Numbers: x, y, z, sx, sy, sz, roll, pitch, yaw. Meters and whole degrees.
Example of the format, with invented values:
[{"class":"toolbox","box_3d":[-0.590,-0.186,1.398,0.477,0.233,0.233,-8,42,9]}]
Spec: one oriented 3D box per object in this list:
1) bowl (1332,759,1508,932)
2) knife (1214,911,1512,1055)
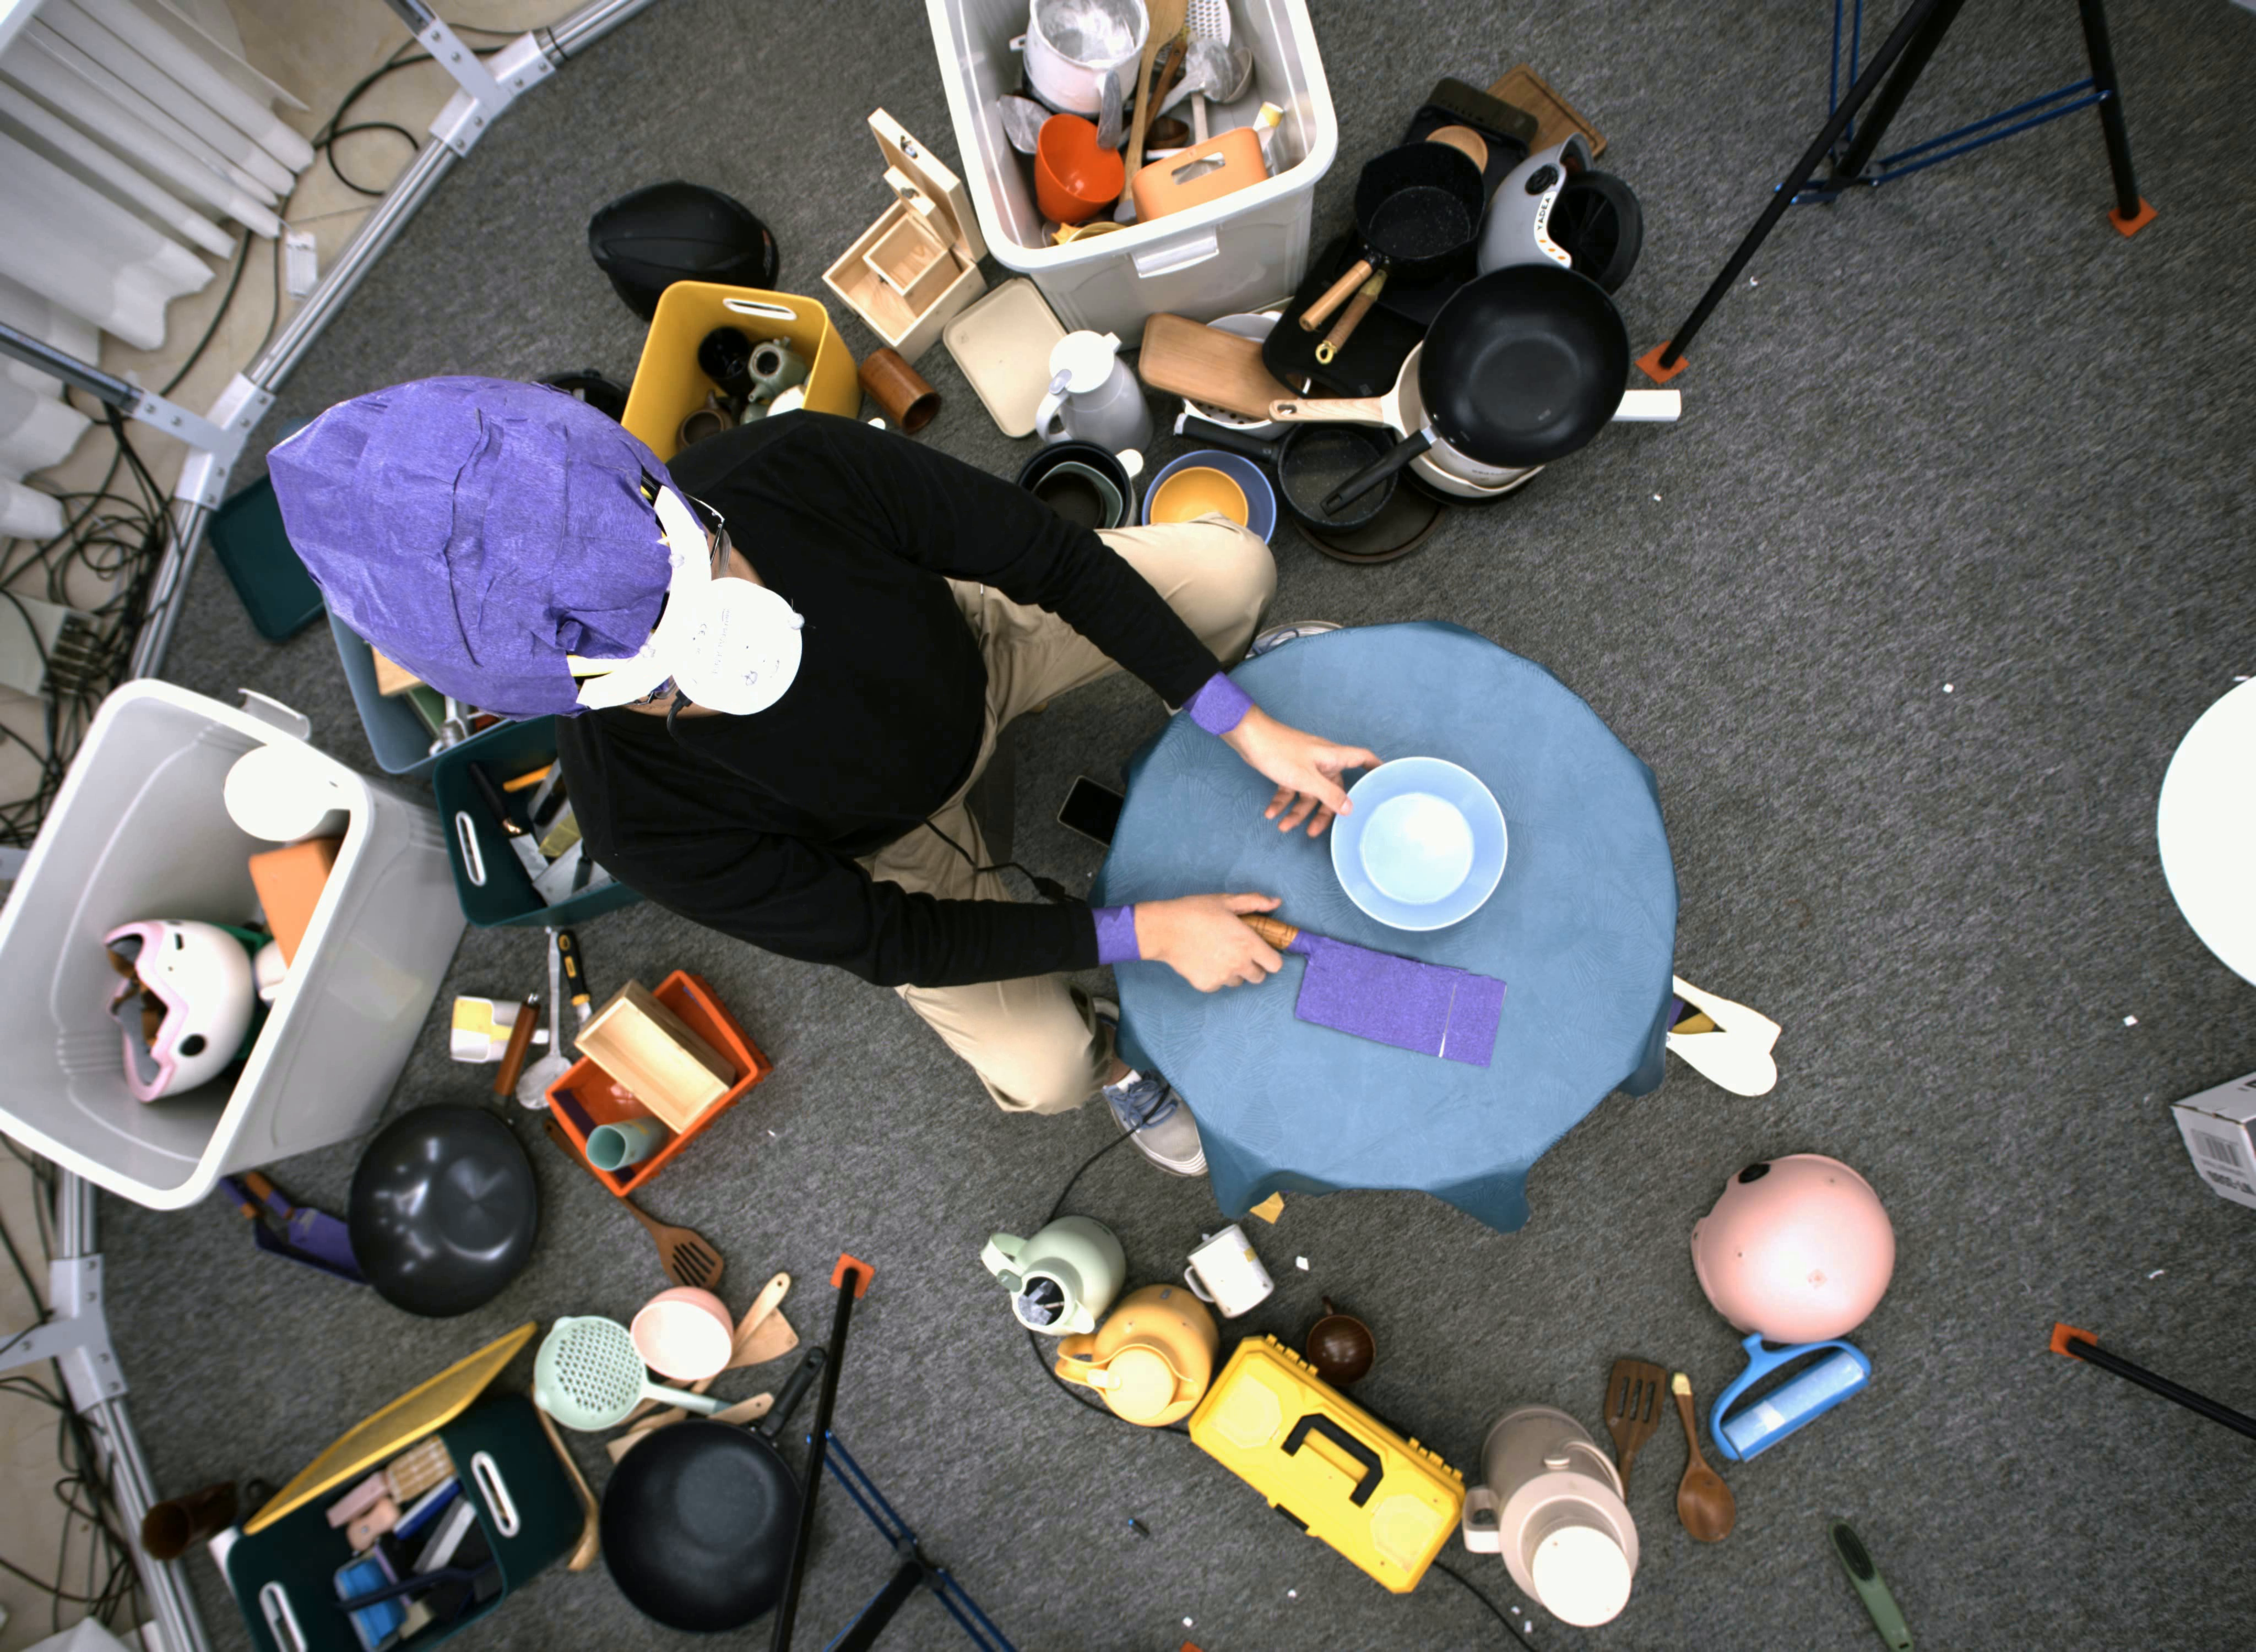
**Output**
[{"class":"bowl","box_3d":[0.300,0.021,1.422,0.177,0.070,0.175,-1,86,11]},{"class":"knife","box_3d":[0.237,0.166,1.450,0.316,0.032,0.103,13,89,10]}]
